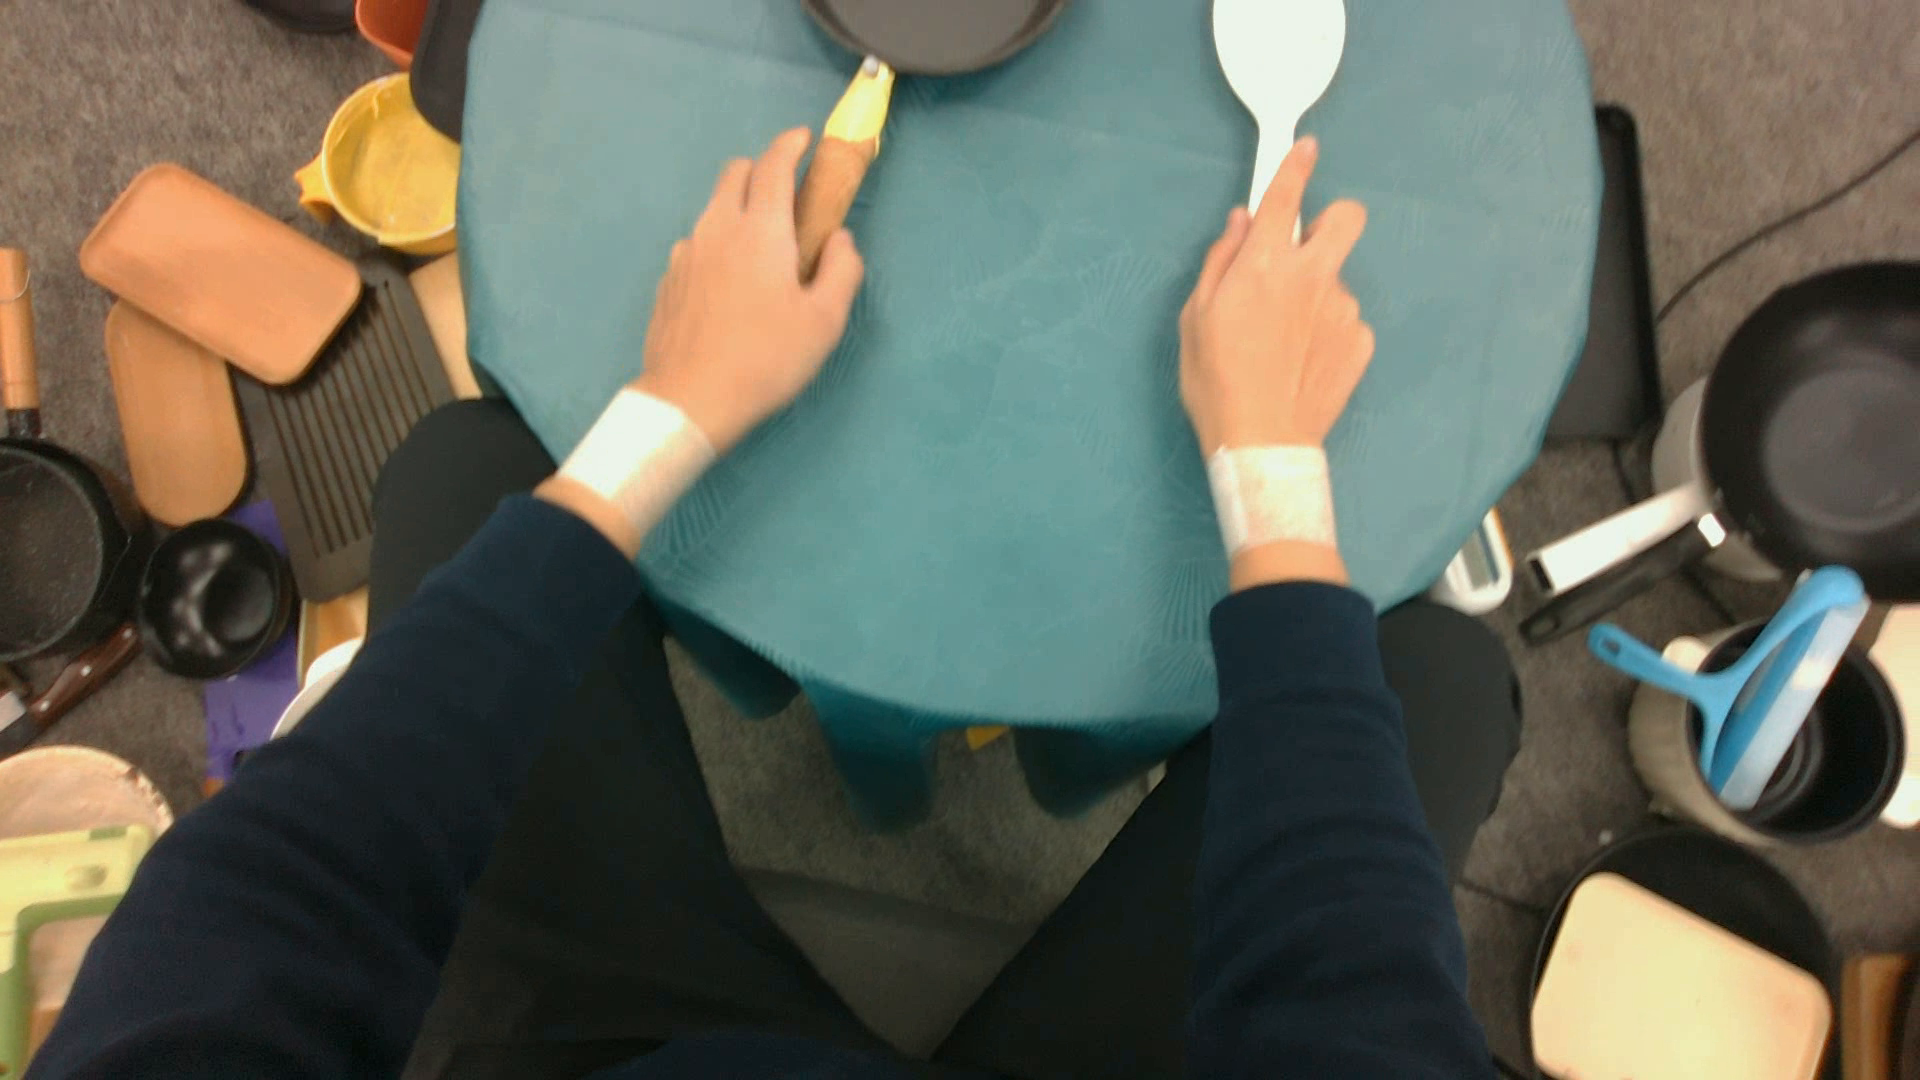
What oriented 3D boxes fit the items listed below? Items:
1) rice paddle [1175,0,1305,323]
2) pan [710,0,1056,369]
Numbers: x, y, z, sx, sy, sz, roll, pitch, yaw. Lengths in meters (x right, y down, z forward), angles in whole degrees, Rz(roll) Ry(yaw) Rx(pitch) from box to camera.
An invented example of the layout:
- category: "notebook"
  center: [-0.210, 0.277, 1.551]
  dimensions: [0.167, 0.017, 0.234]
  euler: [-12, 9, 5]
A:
- category: "rice paddle"
  center: [0.150, -0.214, 0.723]
  dimensions: [0.068, 0.029, 0.205]
  euler: [-3, 75, 12]
- category: "pan"
  center: [-0.058, -0.232, 0.701]
  dimensions: [0.169, 0.049, 0.325]
  euler: [21, 79, 0]
